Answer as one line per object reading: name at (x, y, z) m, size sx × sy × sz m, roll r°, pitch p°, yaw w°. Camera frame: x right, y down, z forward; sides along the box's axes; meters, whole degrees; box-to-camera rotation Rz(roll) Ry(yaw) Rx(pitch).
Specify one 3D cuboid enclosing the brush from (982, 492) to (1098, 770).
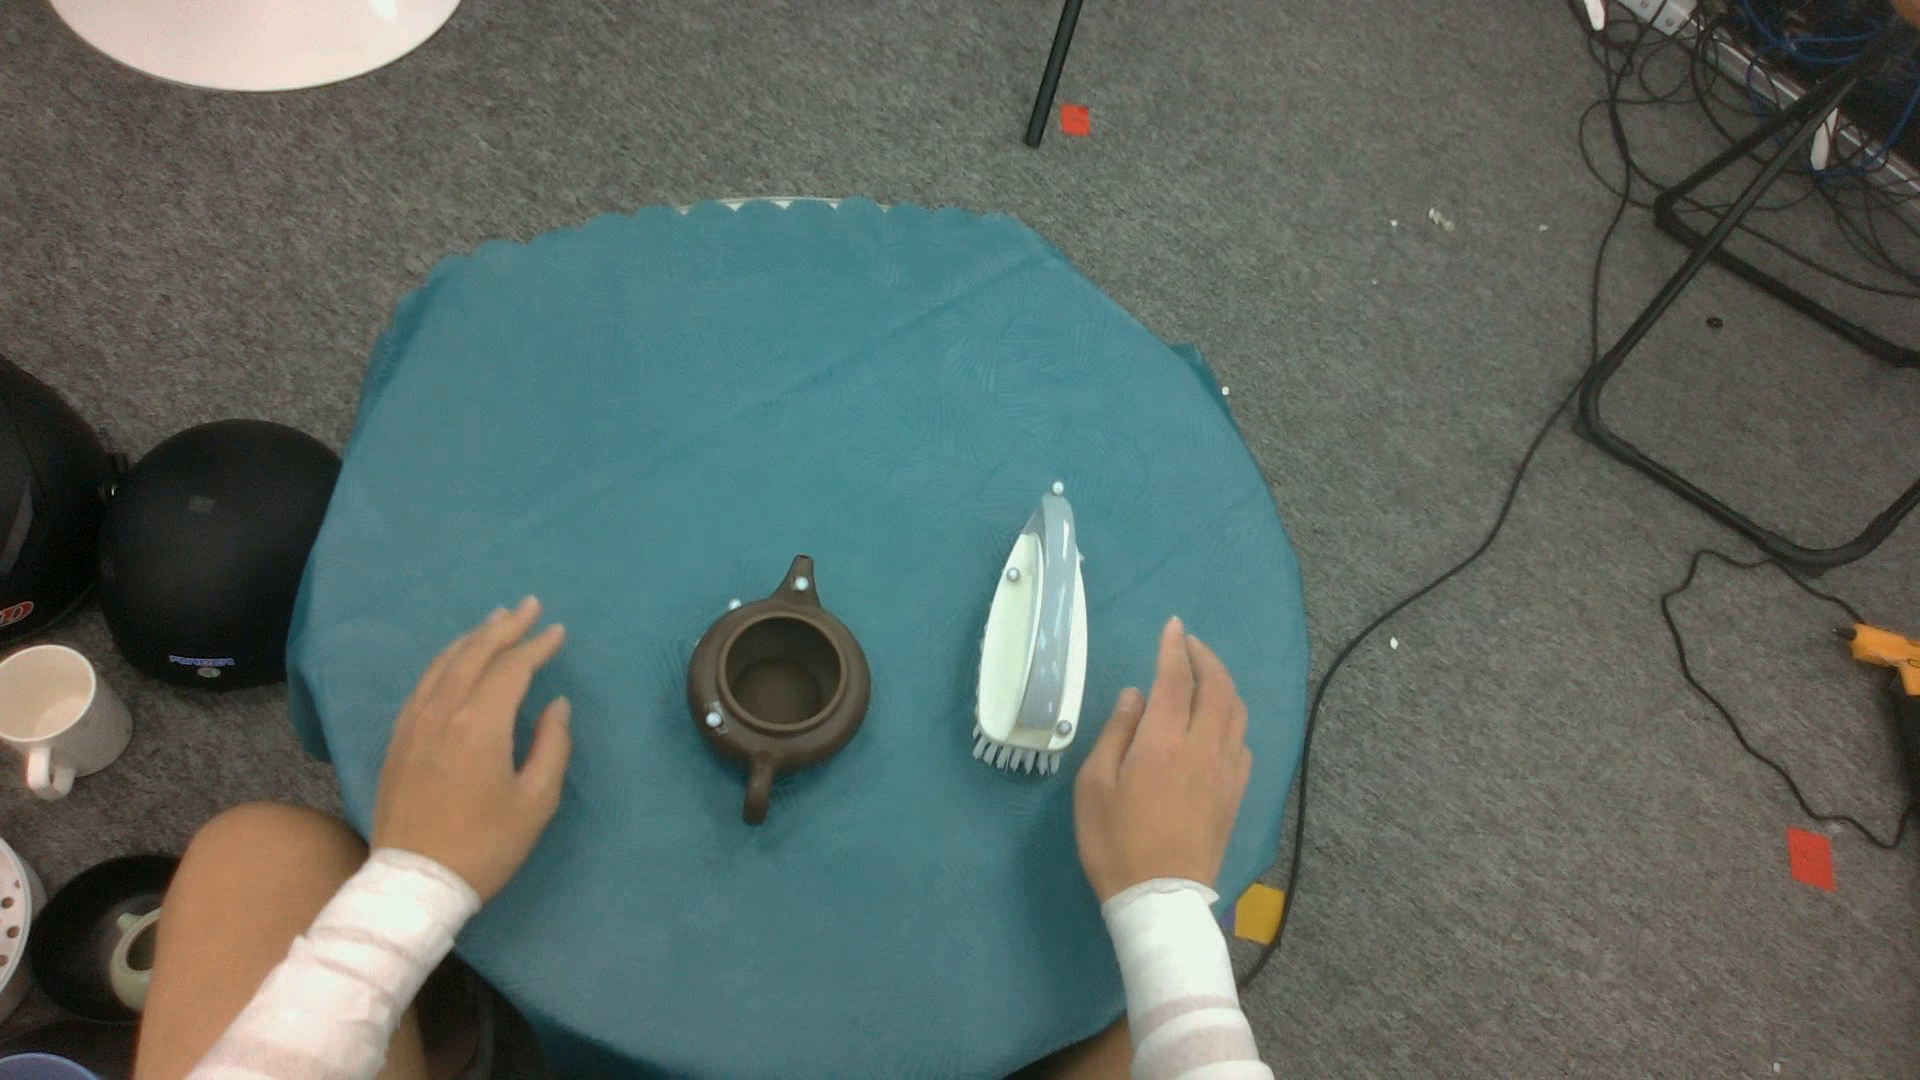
brush at (0.055, 0.038, 0.814) m, size 0.061 × 0.094 × 0.176 m, roll 13°, pitch 58°, yaw -8°

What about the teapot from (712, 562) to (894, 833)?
teapot at (-0.088, 0.090, 0.778) m, size 0.102 × 0.053 × 0.154 m, roll 3°, pitch 61°, yaw -8°
